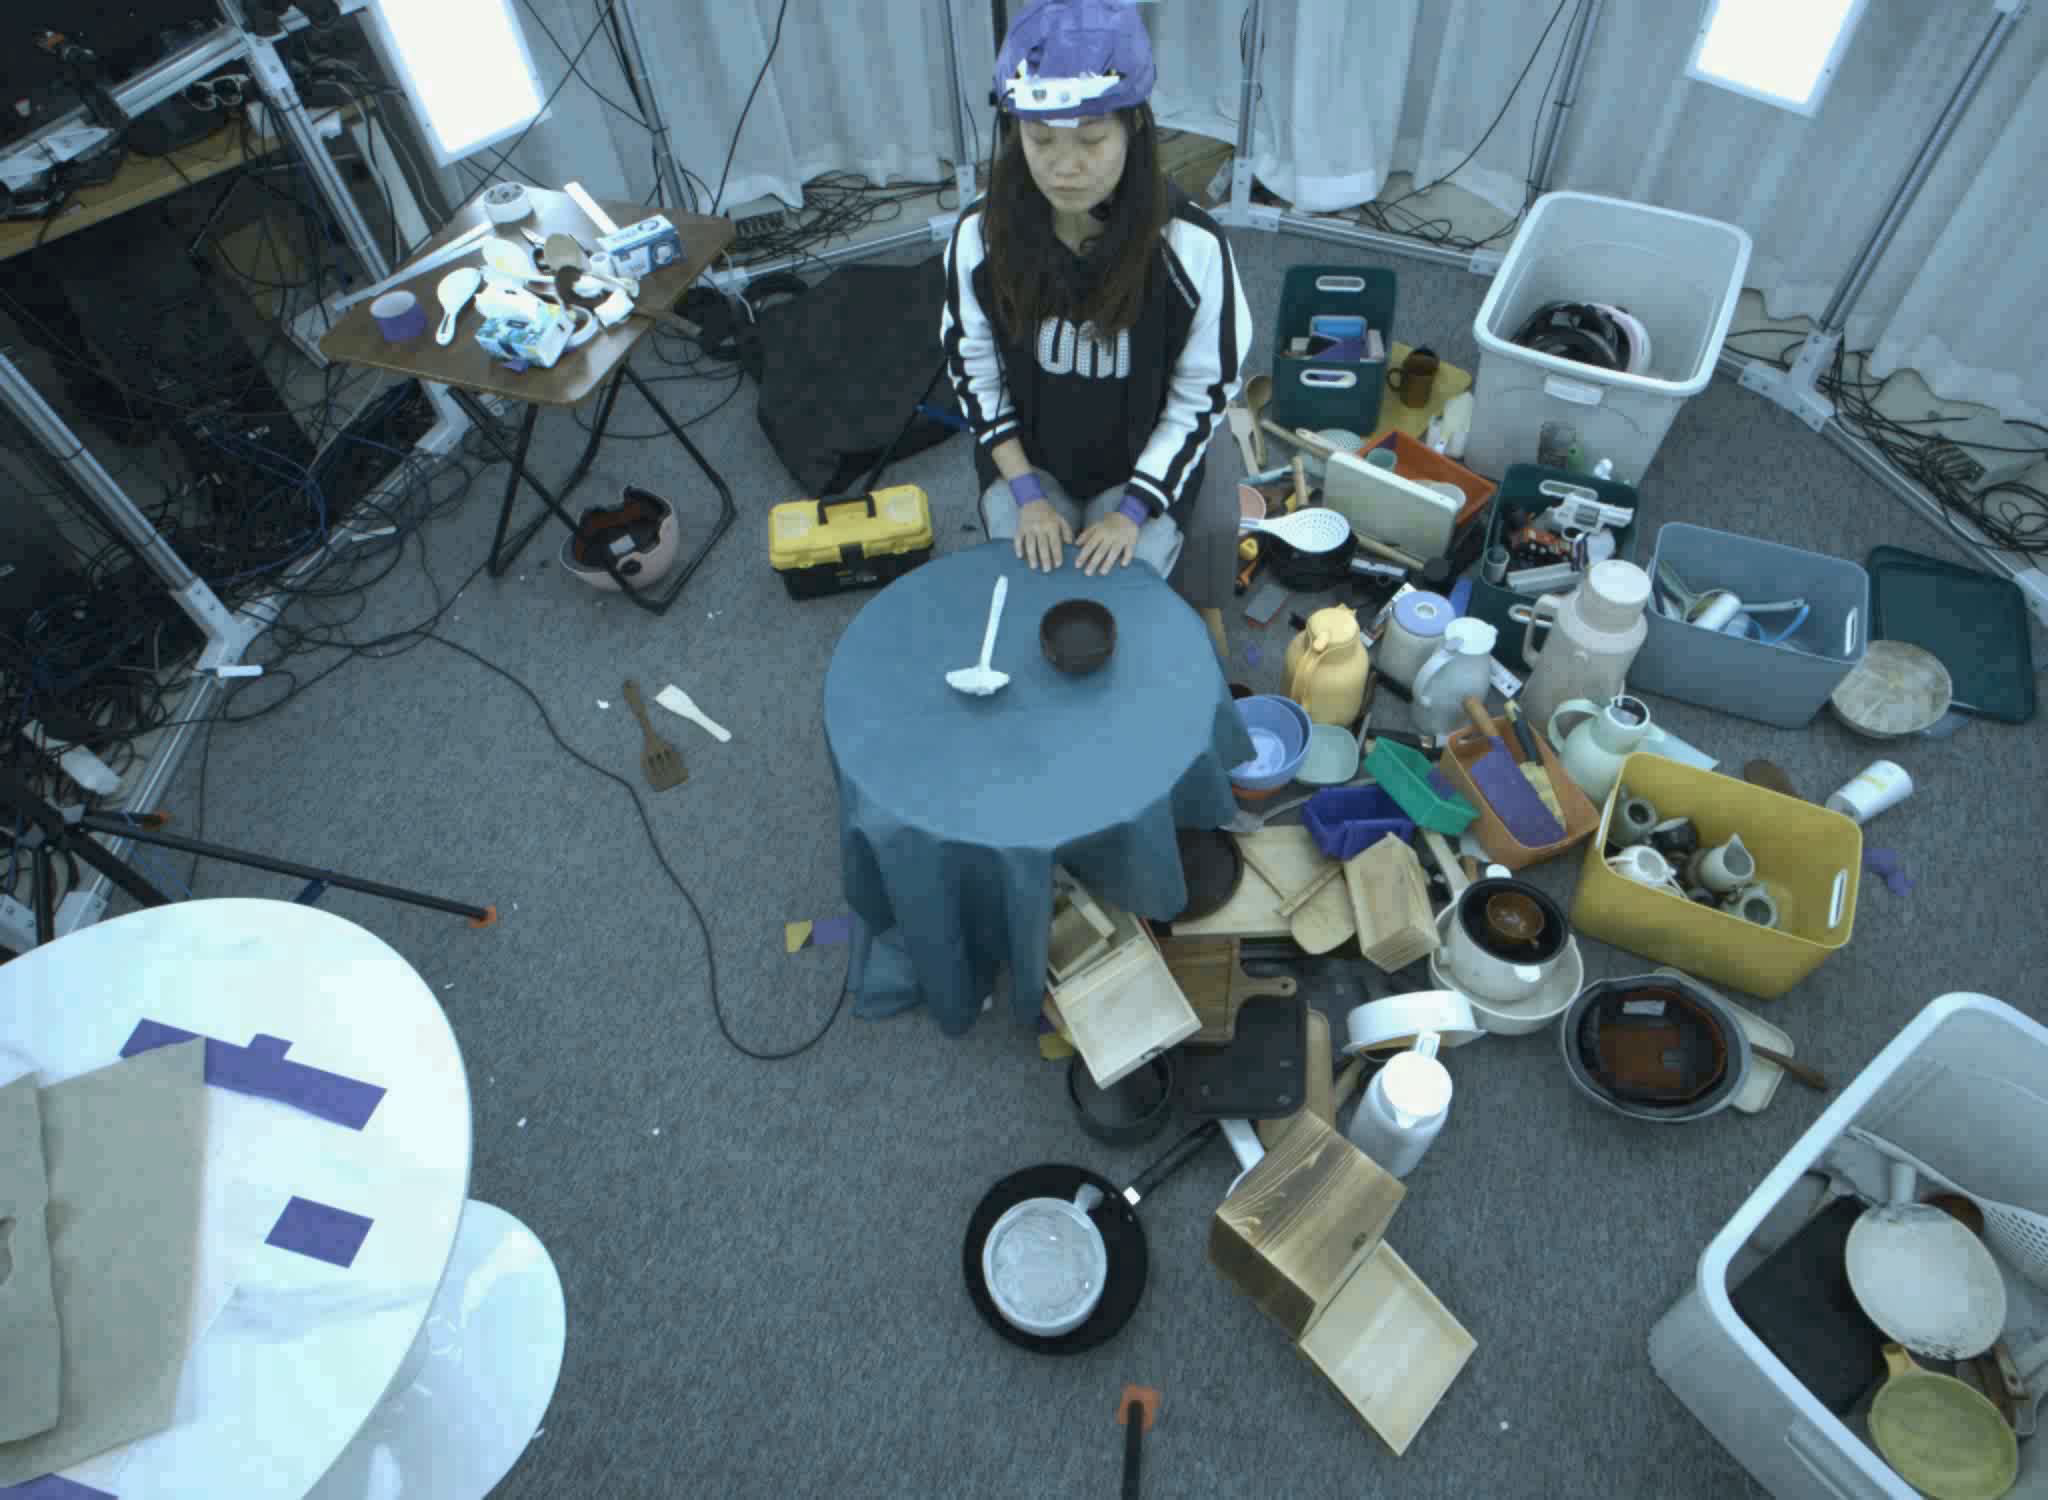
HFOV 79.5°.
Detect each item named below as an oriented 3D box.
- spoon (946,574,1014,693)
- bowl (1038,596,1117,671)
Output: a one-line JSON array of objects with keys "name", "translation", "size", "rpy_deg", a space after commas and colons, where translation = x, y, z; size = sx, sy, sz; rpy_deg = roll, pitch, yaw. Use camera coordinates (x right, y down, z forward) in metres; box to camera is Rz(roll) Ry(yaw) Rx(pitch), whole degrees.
[{"name": "spoon", "translation": [-0.047, -0.187, 1.886], "size": [0.100, 0.060, 0.276], "rpy_deg": [10, 56, 5]}, {"name": "bowl", "translation": [0.081, -0.168, 1.858], "size": [0.118, 0.070, 0.117], "rpy_deg": [0, 55, 2]}]
